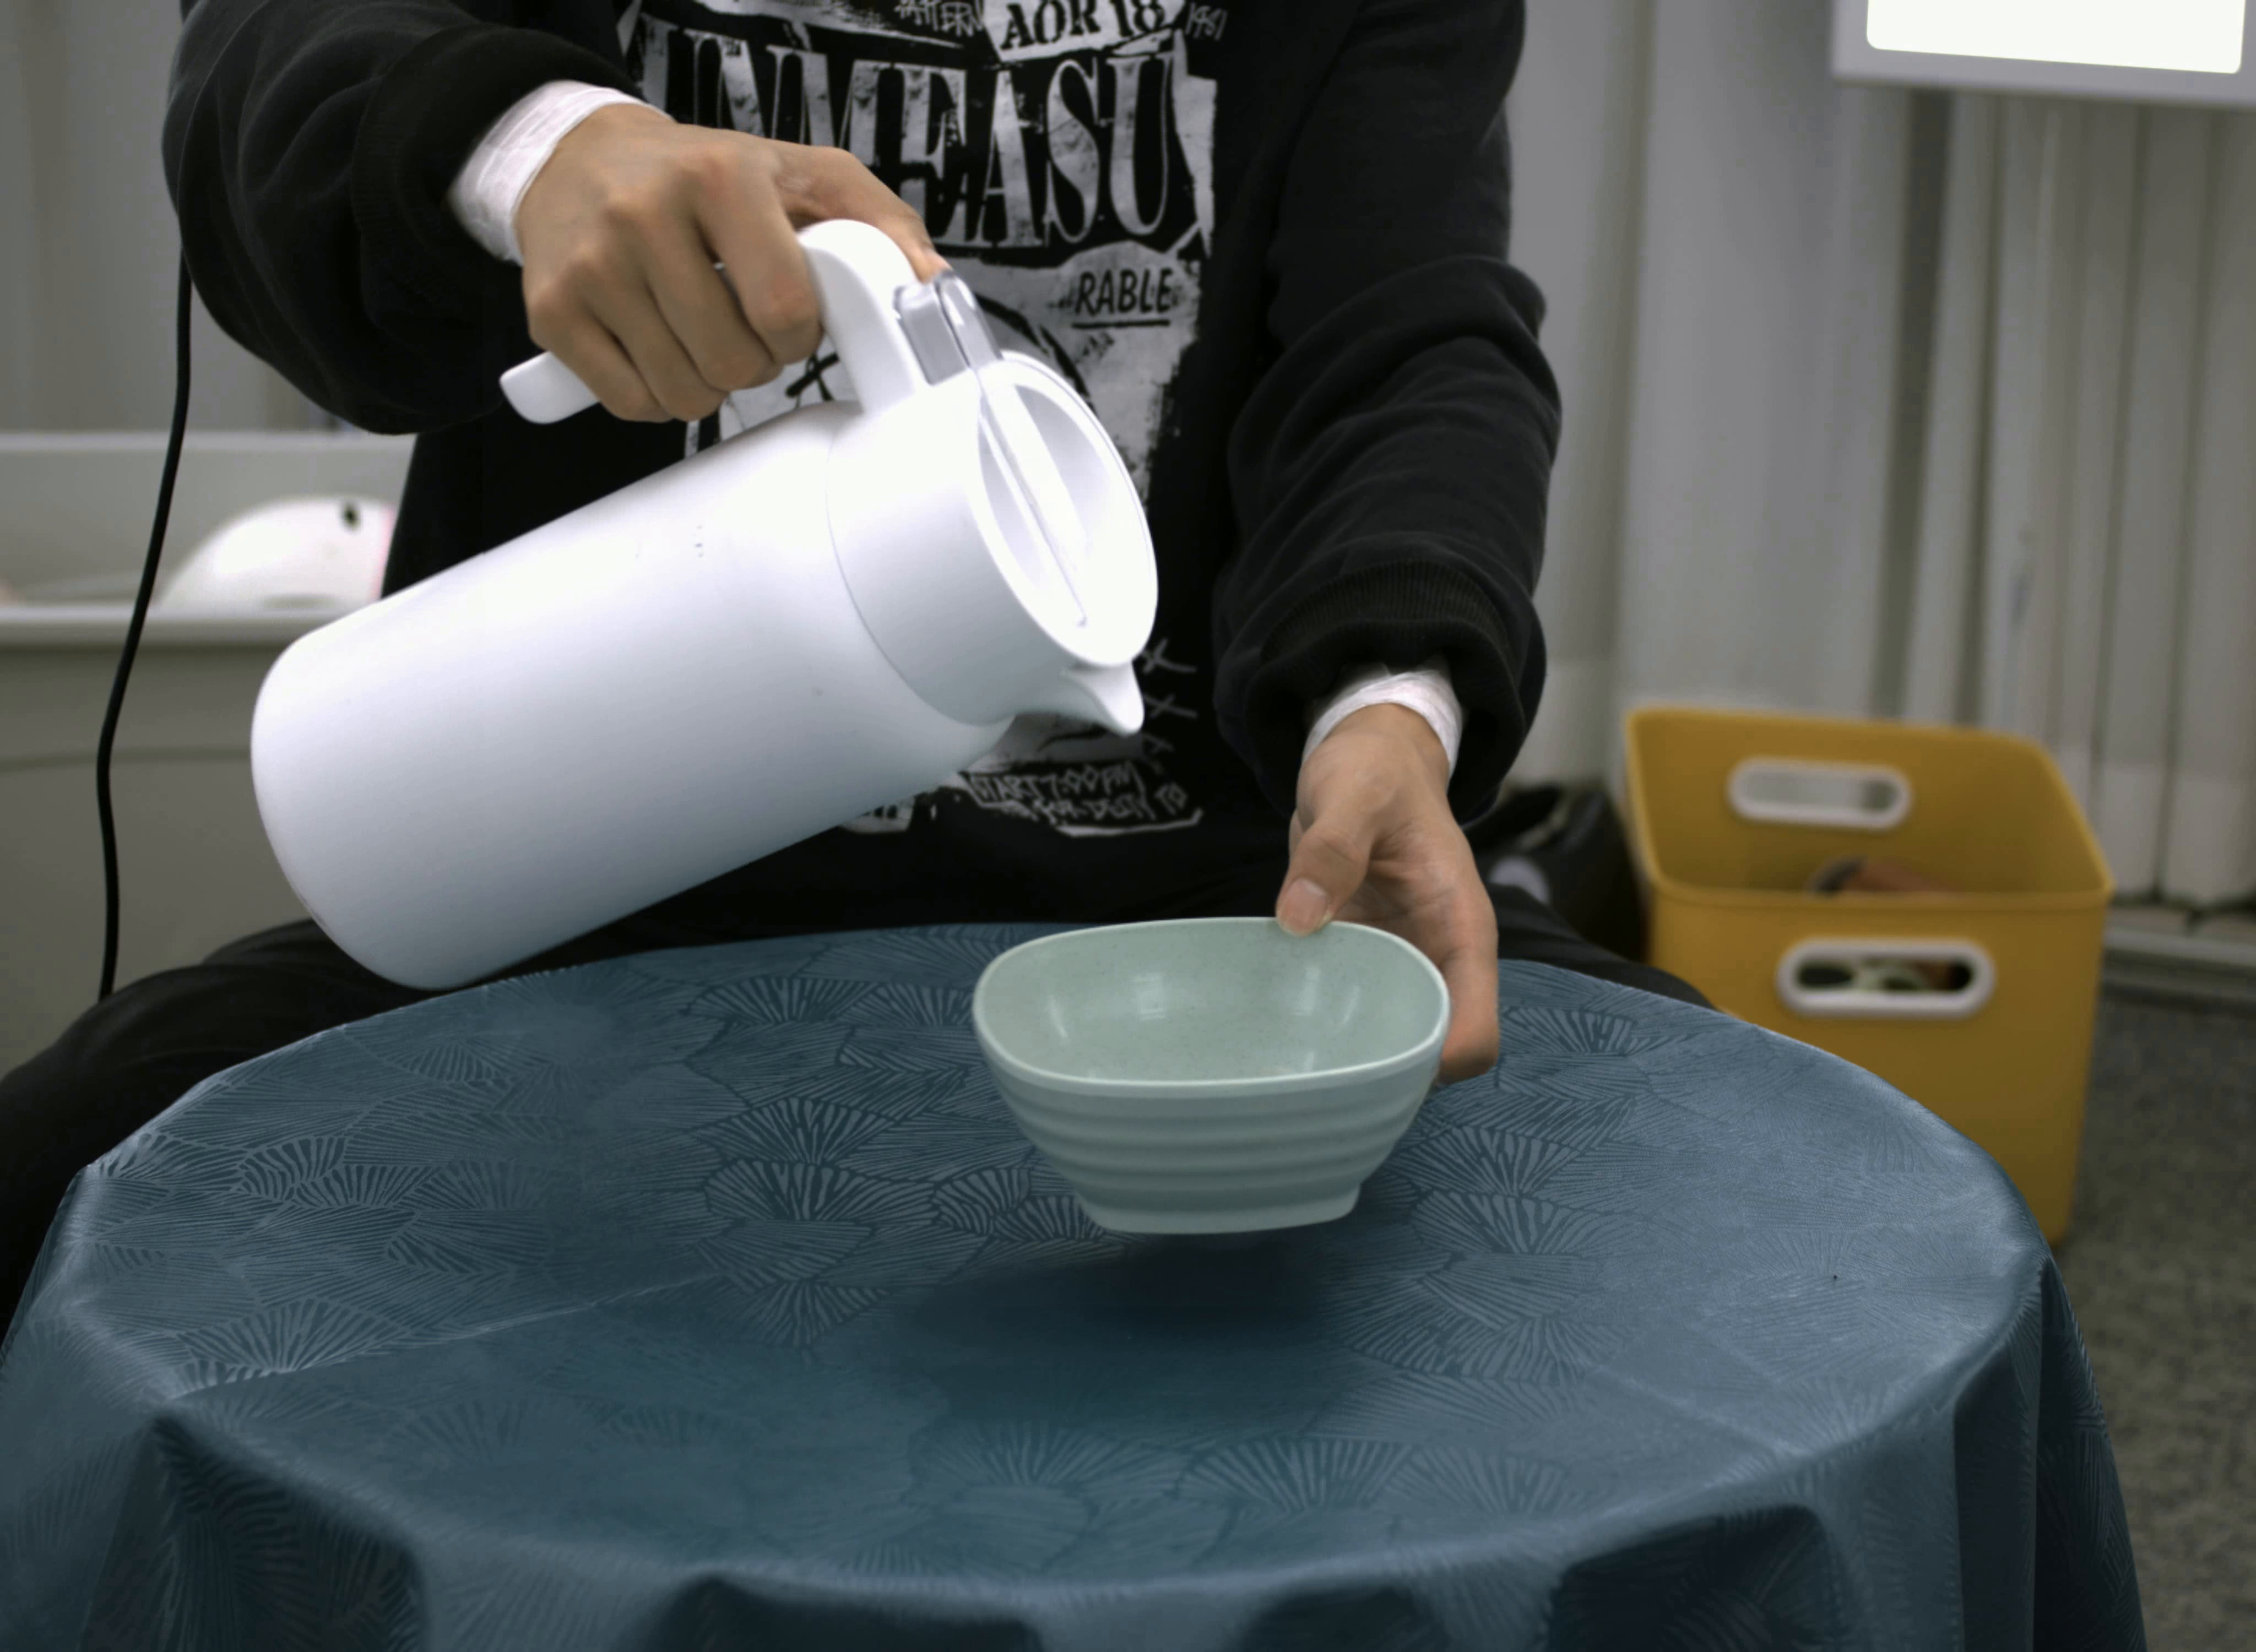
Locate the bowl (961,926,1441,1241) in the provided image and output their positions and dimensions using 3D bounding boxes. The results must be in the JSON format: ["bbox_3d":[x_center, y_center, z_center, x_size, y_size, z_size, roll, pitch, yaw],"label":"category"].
[{"bbox_3d":[0.022,0.078,1.535,0.151,0.059,0.150,-1,18,1],"label":"bowl"}]

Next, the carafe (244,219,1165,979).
[{"bbox_3d":[-0.135,-0.063,1.550,0.267,0.174,0.124,-21,11,29],"label":"carafe"}]
